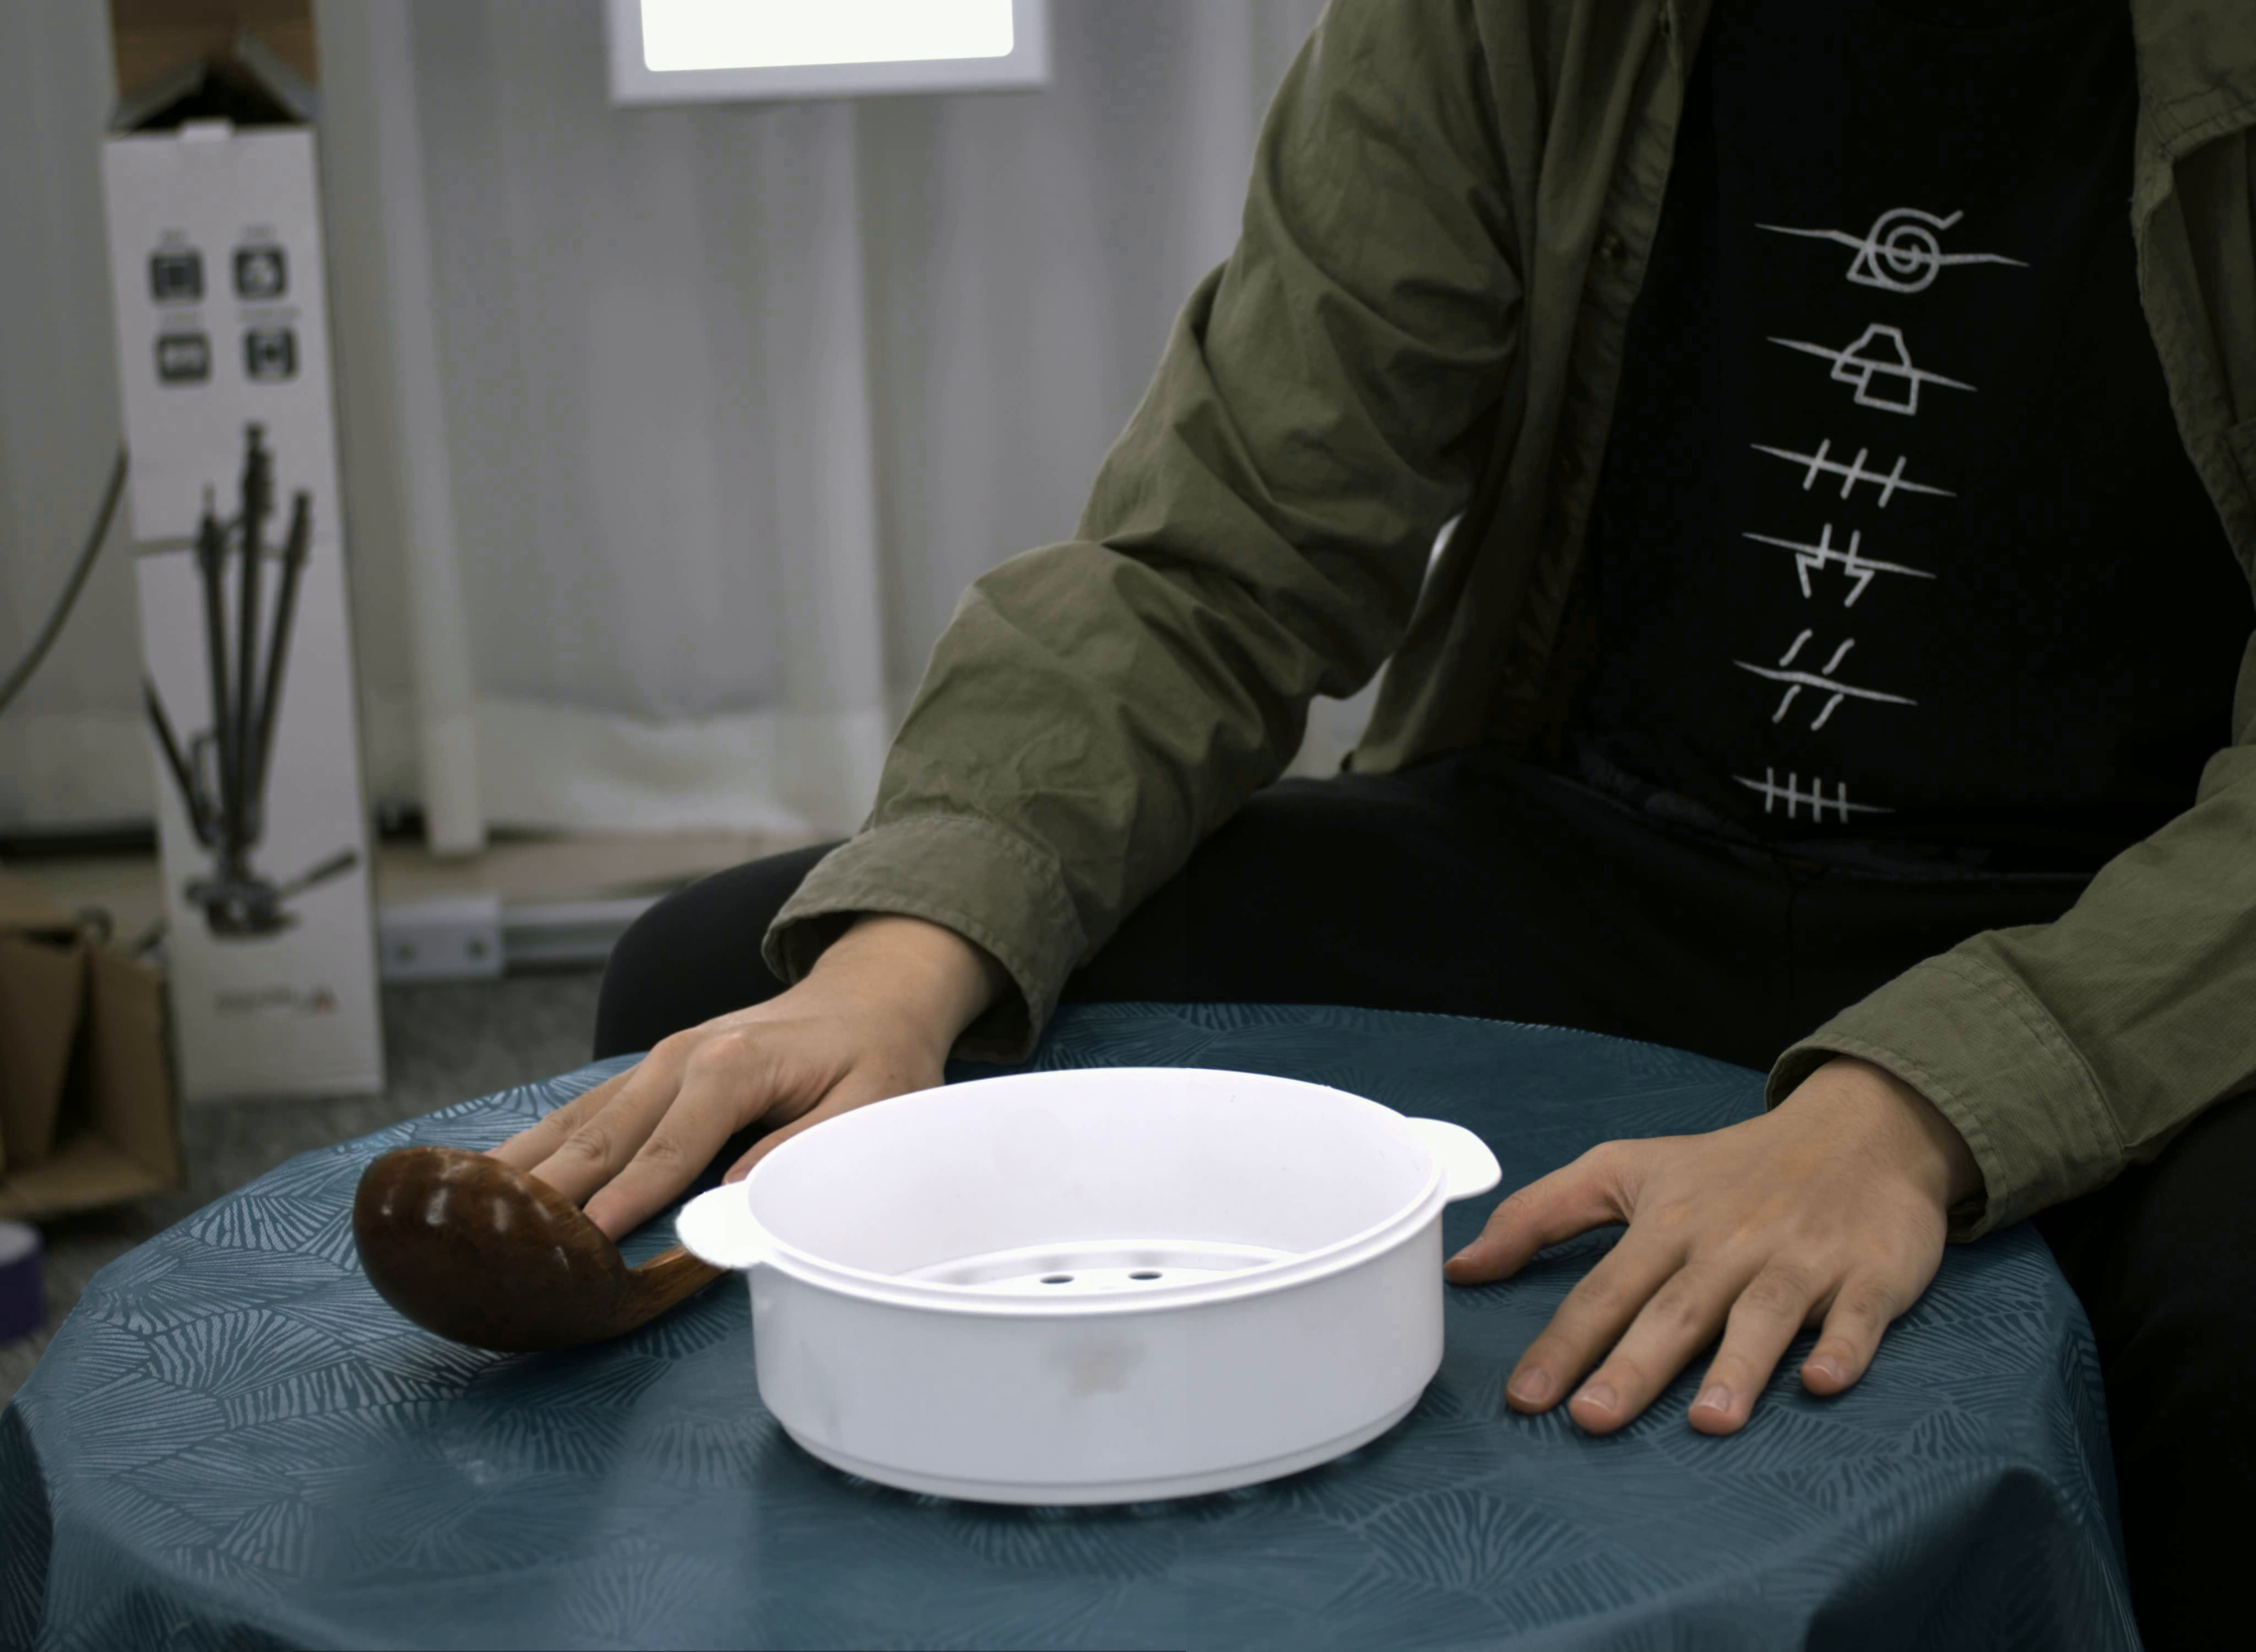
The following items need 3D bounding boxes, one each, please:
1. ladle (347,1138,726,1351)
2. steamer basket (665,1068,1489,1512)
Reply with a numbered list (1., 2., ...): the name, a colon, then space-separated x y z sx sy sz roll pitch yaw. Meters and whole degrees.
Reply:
1. ladle: -0.123 0.098 1.661 0.082 0.076 0.274 -10 7 40
2. steamer basket: -0.013 0.130 1.533 0.229 0.069 0.203 -4 15 -8
